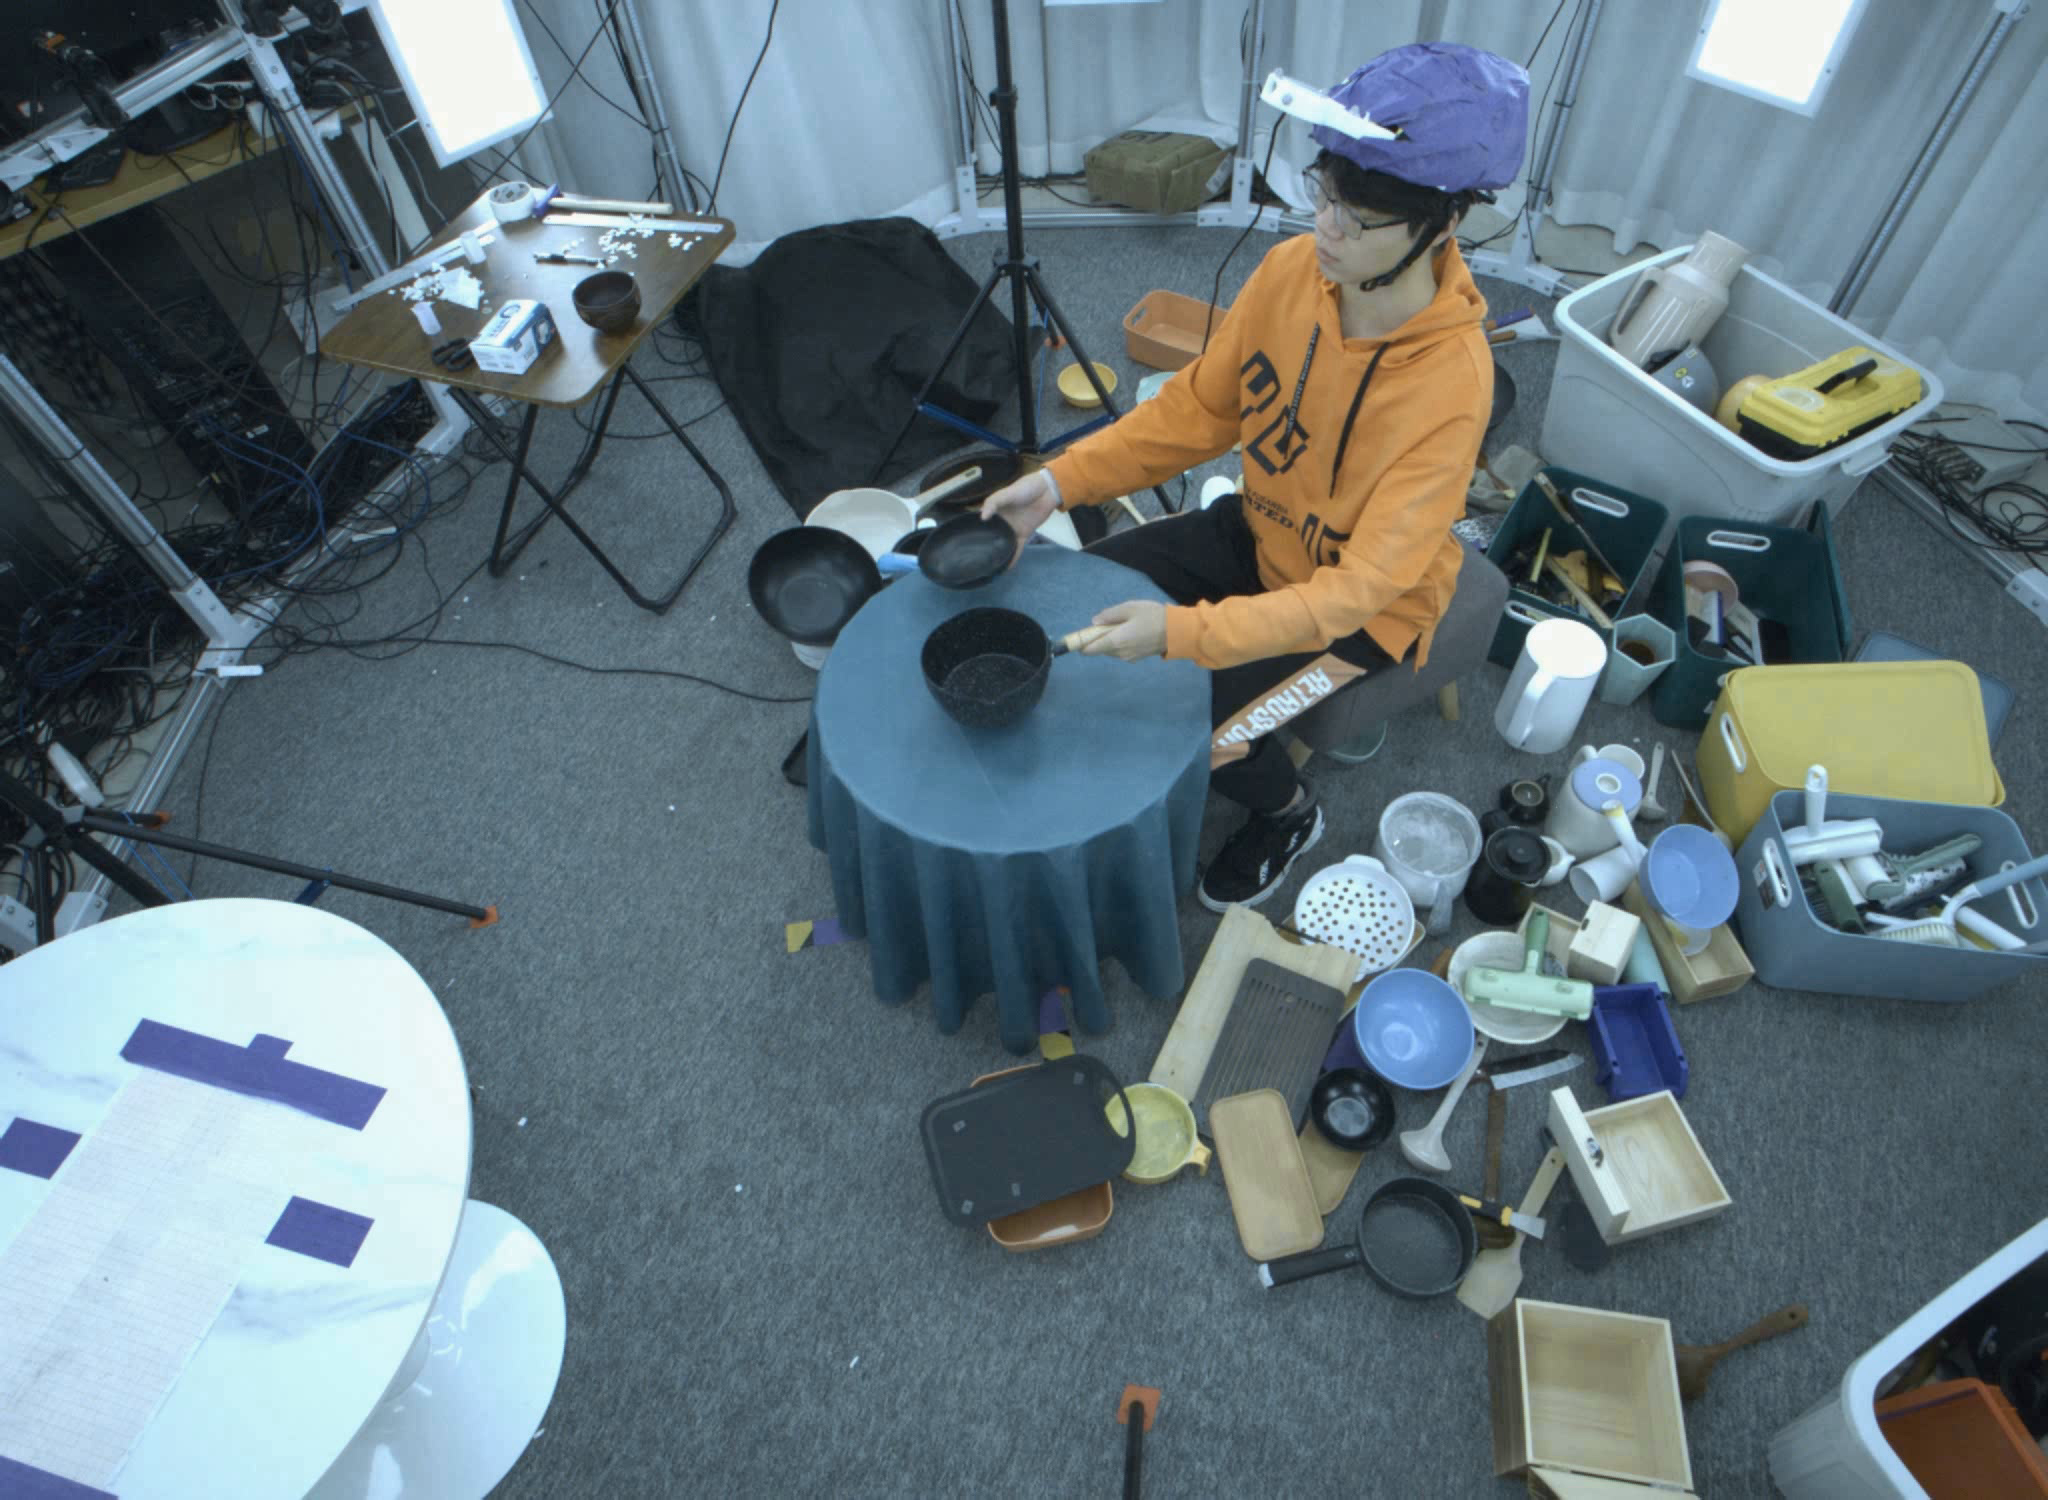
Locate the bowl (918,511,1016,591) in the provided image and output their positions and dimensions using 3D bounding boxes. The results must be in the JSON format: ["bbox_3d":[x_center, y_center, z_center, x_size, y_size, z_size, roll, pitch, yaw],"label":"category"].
[{"bbox_3d":[-0.085,-0.299,1.917,0.168,0.068,0.136,-3,62,20],"label":"bowl"}]

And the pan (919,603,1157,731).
[{"bbox_3d":[0.024,-0.133,1.761,0.343,0.109,0.204,-12,50,-2],"label":"pan"}]
